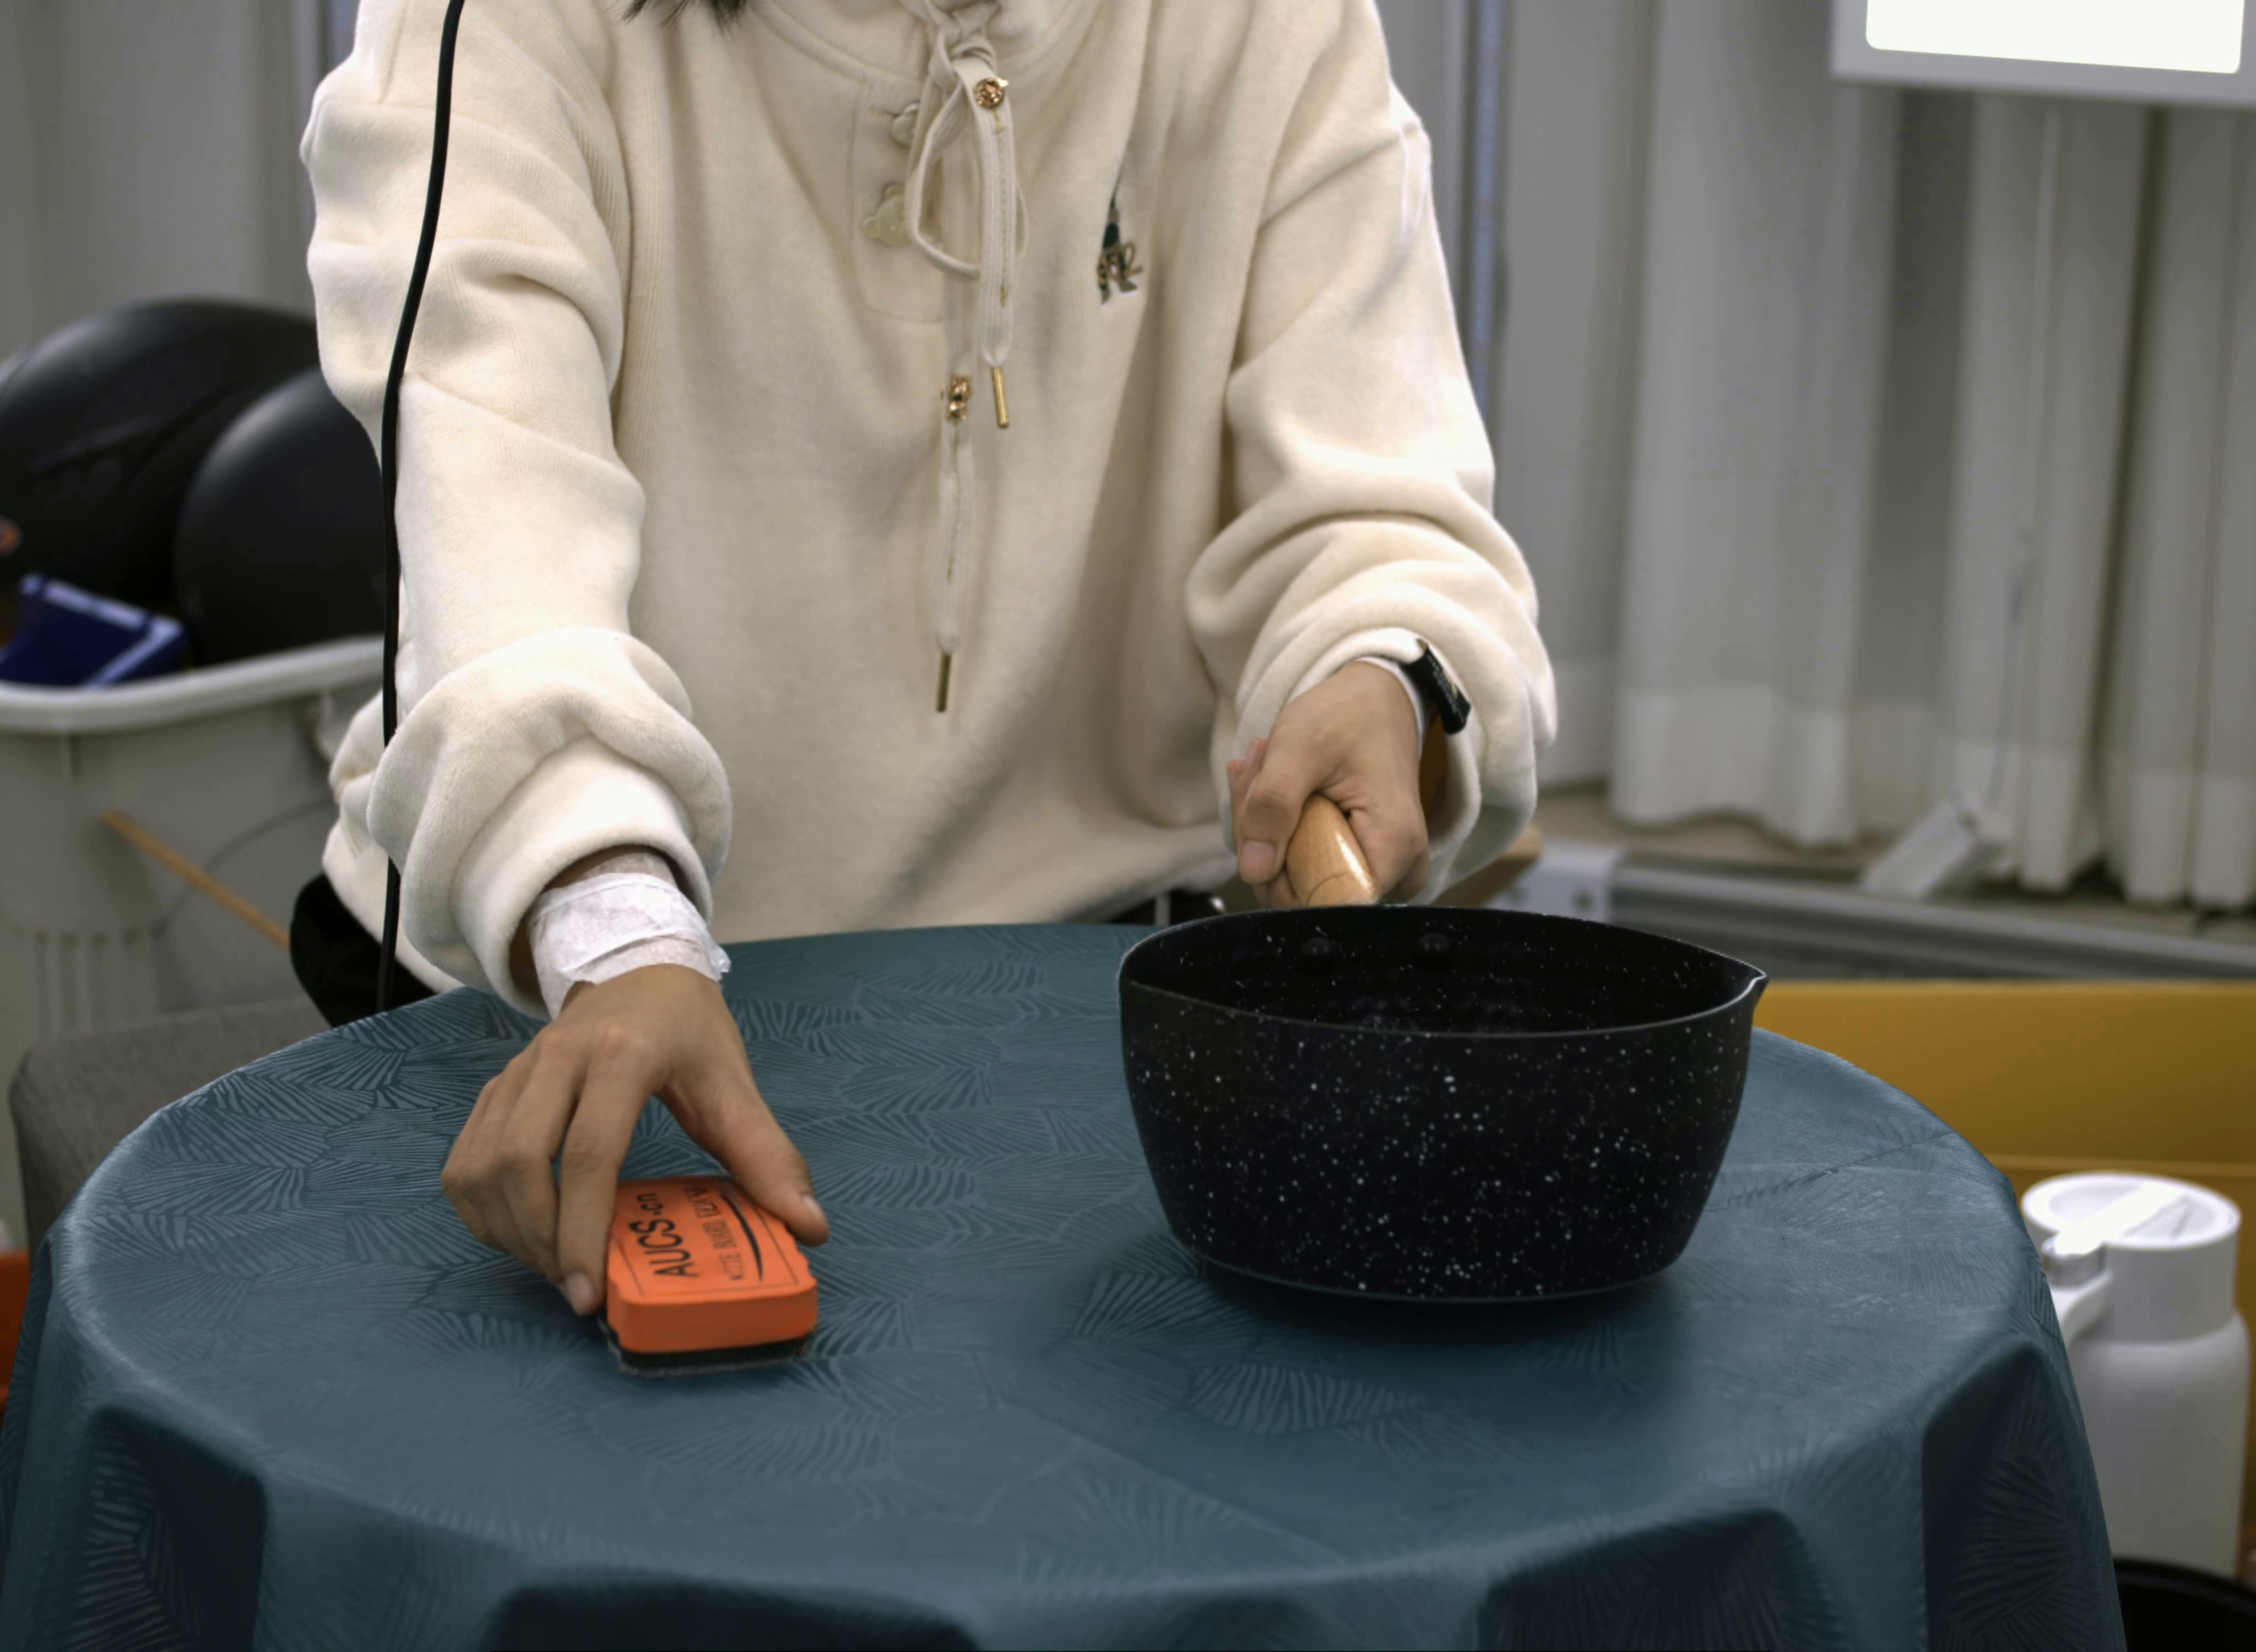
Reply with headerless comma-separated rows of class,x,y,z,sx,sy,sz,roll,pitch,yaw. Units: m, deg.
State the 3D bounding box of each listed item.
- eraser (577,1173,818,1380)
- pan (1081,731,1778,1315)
eraser,-0.125,0.129,1.515,0.059,0.023,0.107,-5,16,-12
pan,0.076,0.055,1.624,0.207,0.109,0.340,-1,12,-10
